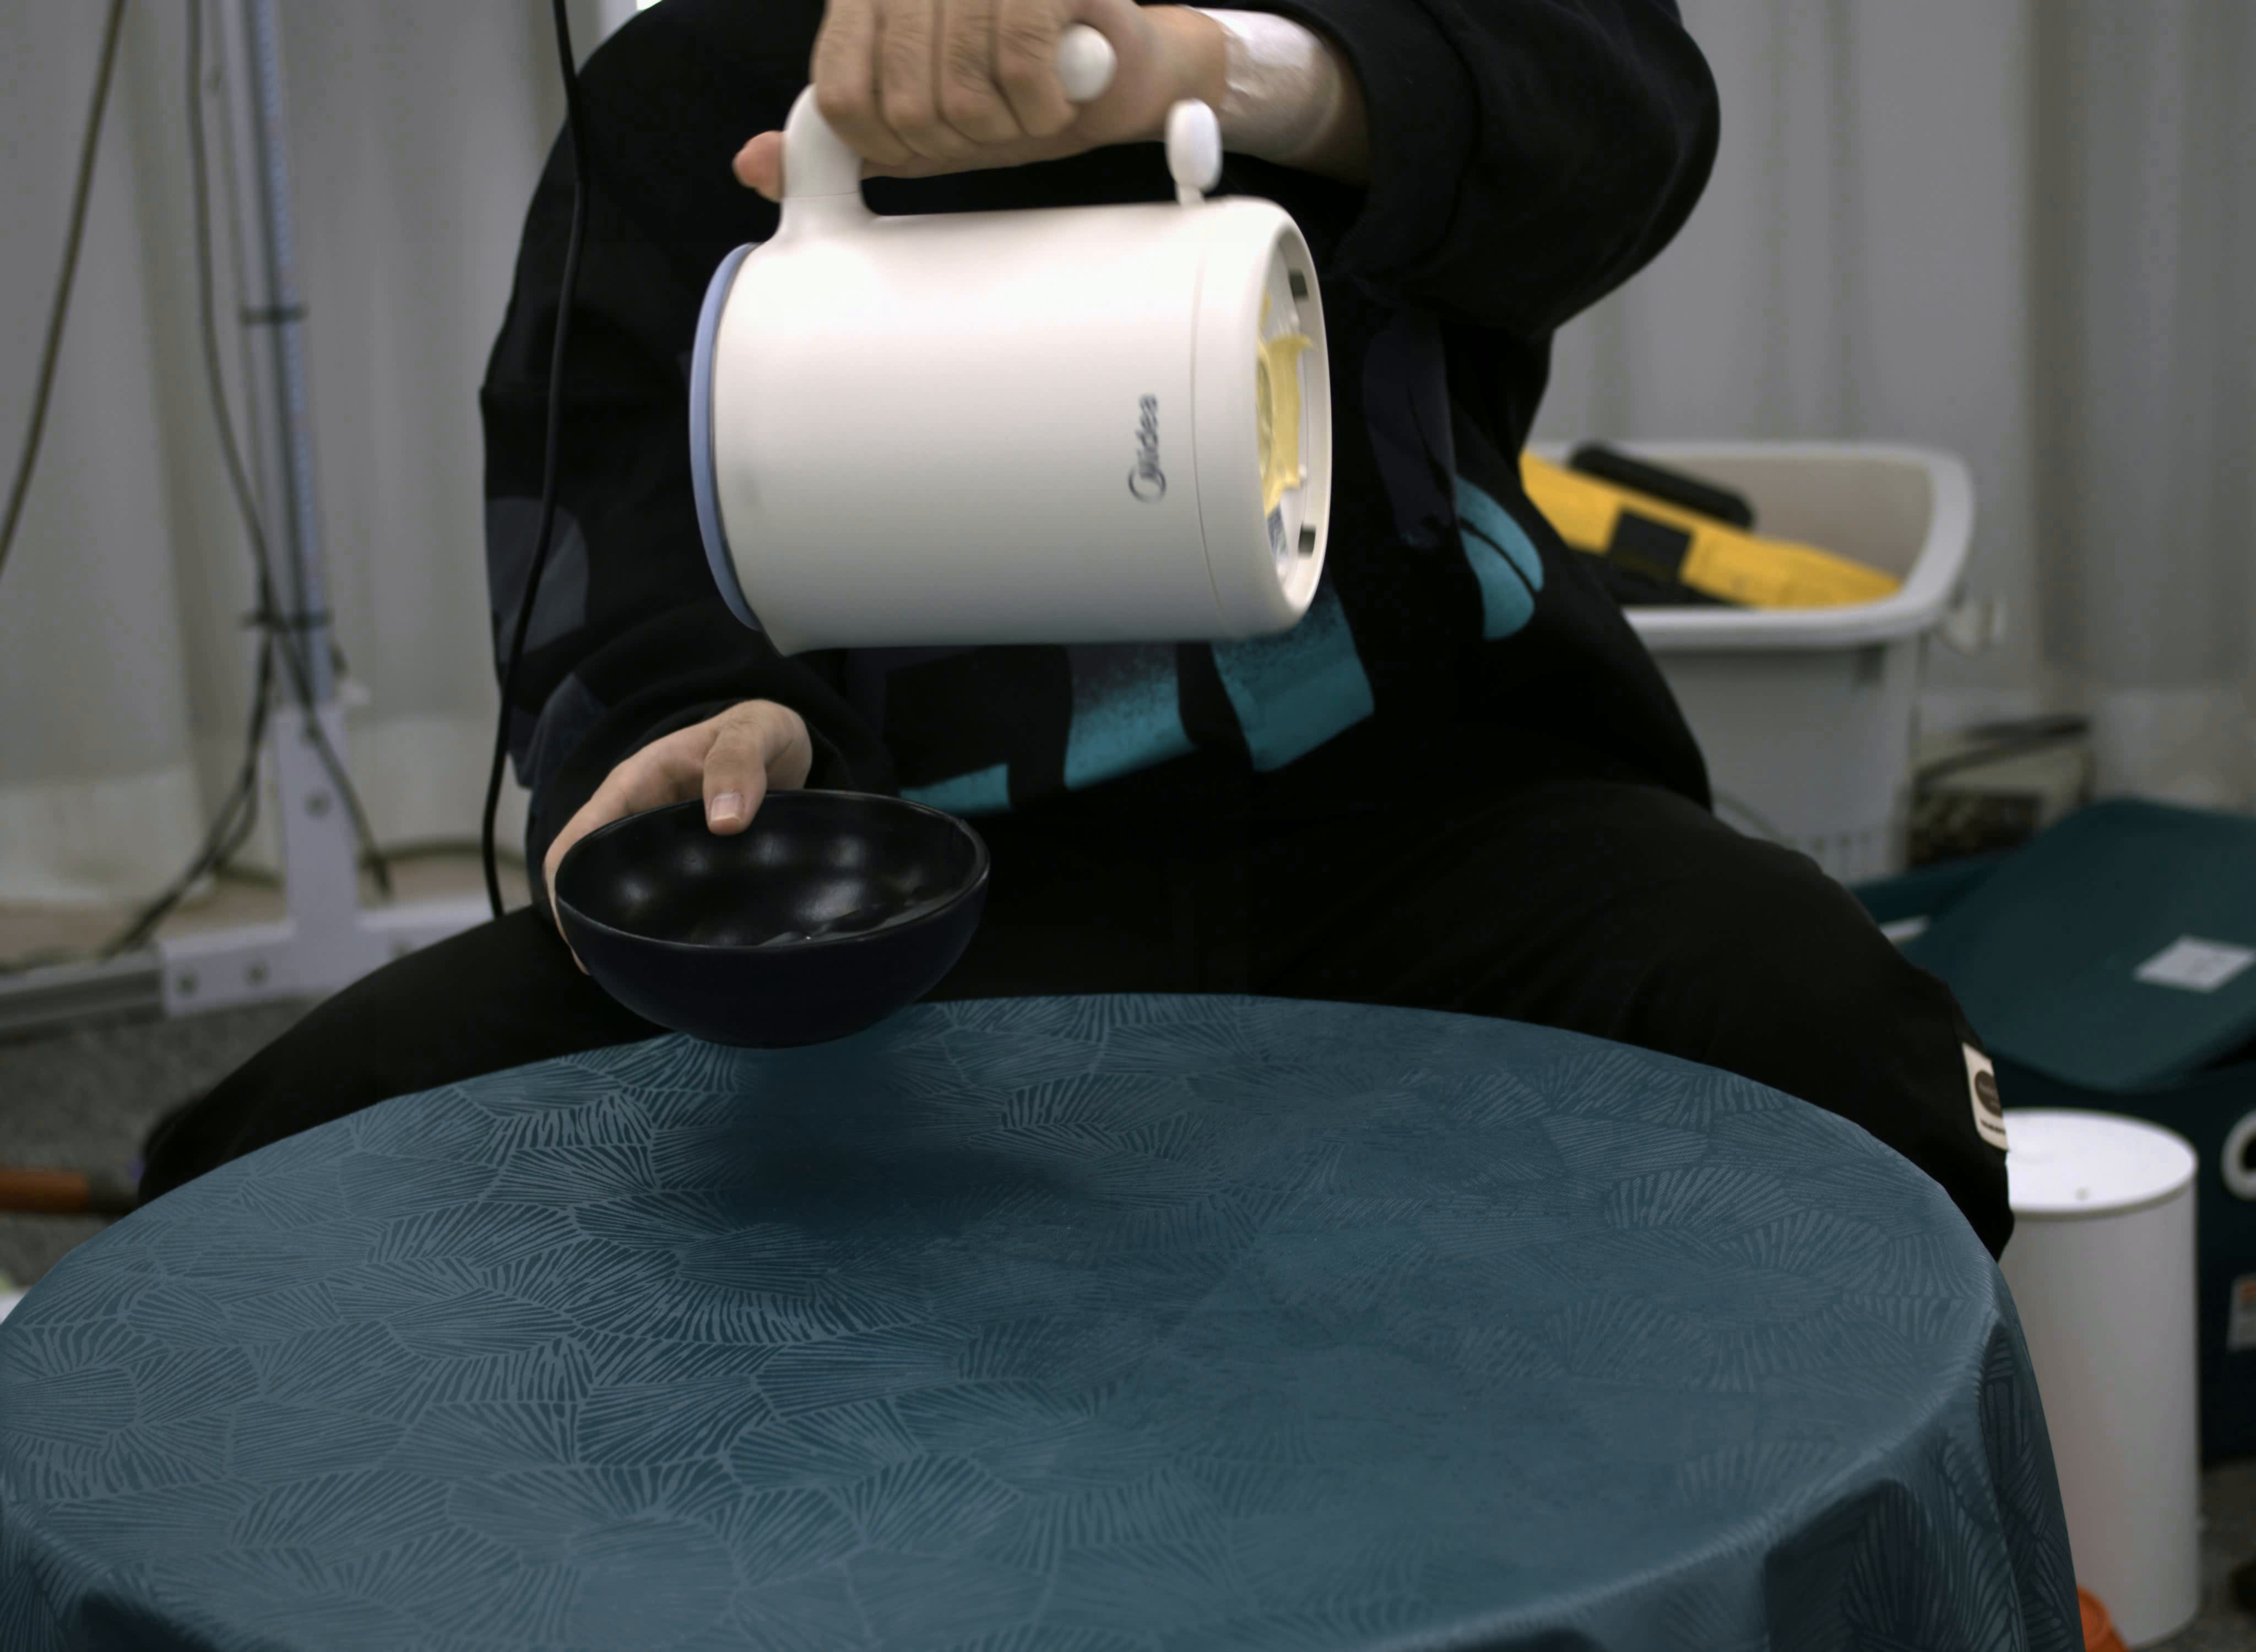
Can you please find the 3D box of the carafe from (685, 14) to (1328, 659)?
[{"bbox_3d":[-0.035,-0.147,1.649,0.182,0.191,0.132,-1,9,12],"label":"carafe"}]

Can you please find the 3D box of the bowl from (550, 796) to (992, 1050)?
[{"bbox_3d":[-0.111,0.036,1.723,0.139,0.049,0.141,-1,18,0],"label":"bowl"}]
